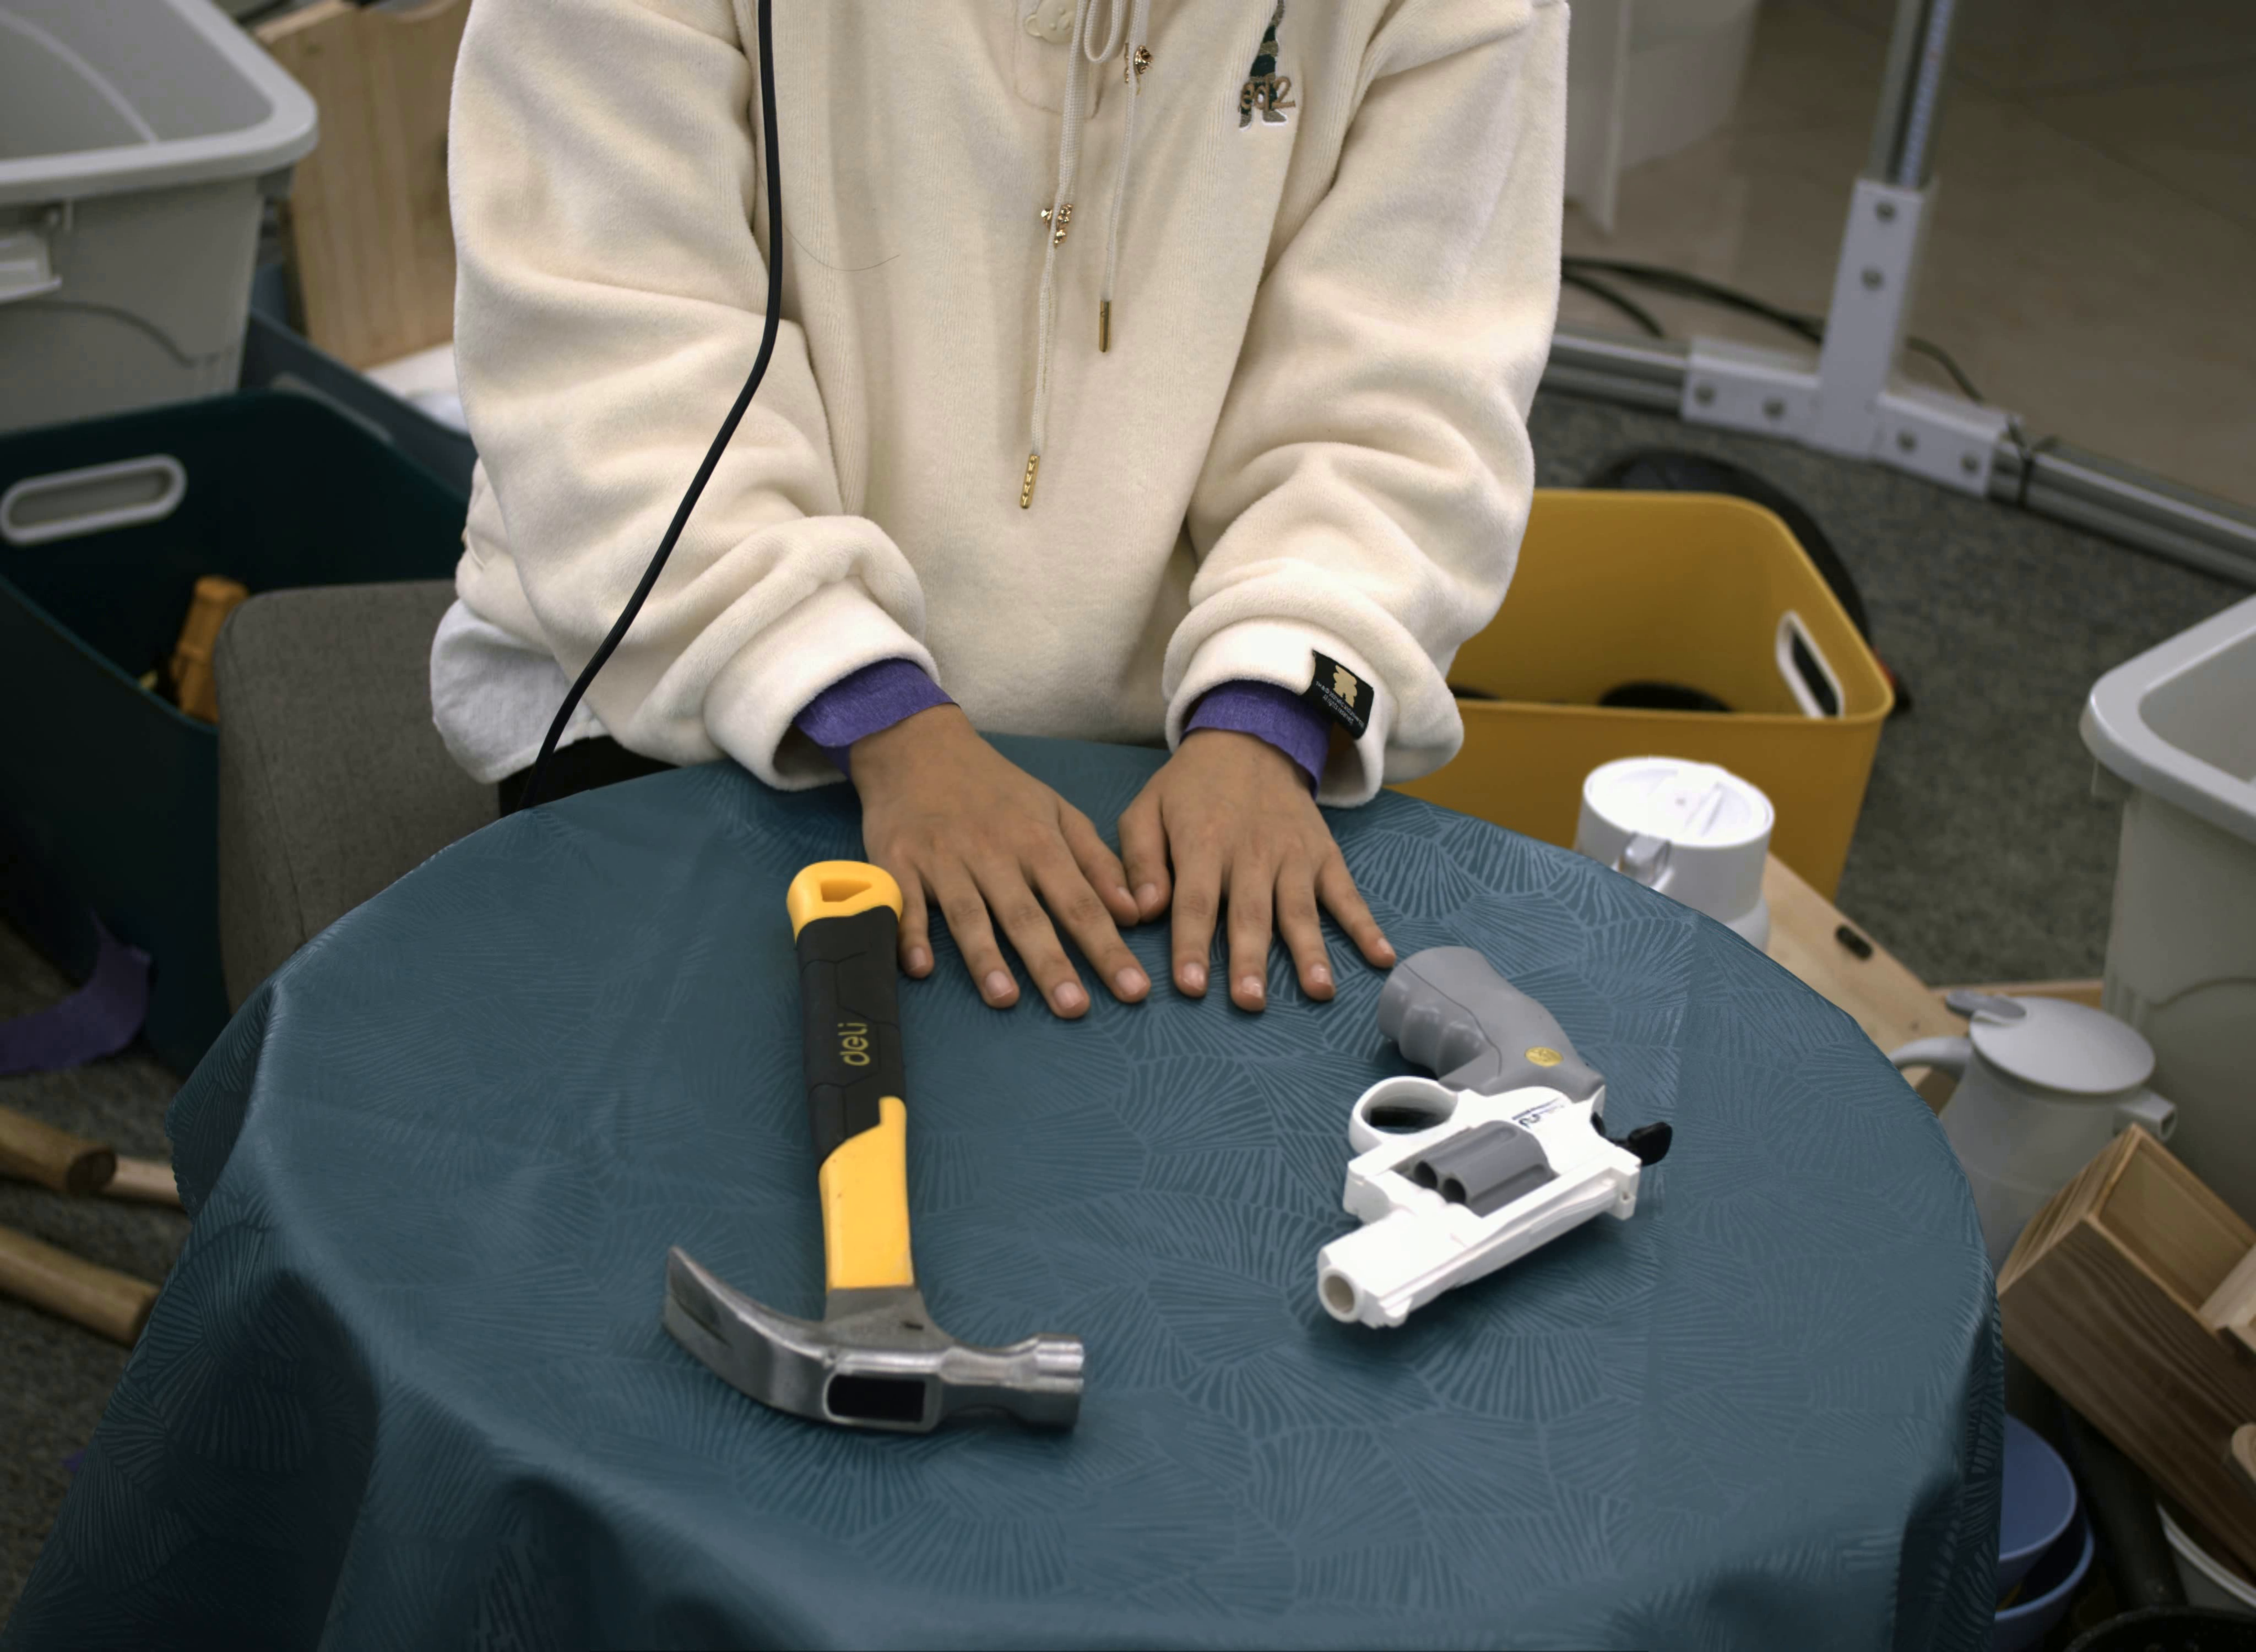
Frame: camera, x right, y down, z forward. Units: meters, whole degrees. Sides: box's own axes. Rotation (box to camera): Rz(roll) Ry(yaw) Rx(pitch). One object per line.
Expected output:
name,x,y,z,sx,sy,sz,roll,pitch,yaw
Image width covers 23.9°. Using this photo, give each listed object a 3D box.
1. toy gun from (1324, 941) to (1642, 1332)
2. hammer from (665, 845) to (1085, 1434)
toy gun,0.103,0.105,1.818,0.142,0.038,0.208,27,33,33
hammer,-0.090,0.097,1.794,0.131,0.032,0.341,1,28,-5
